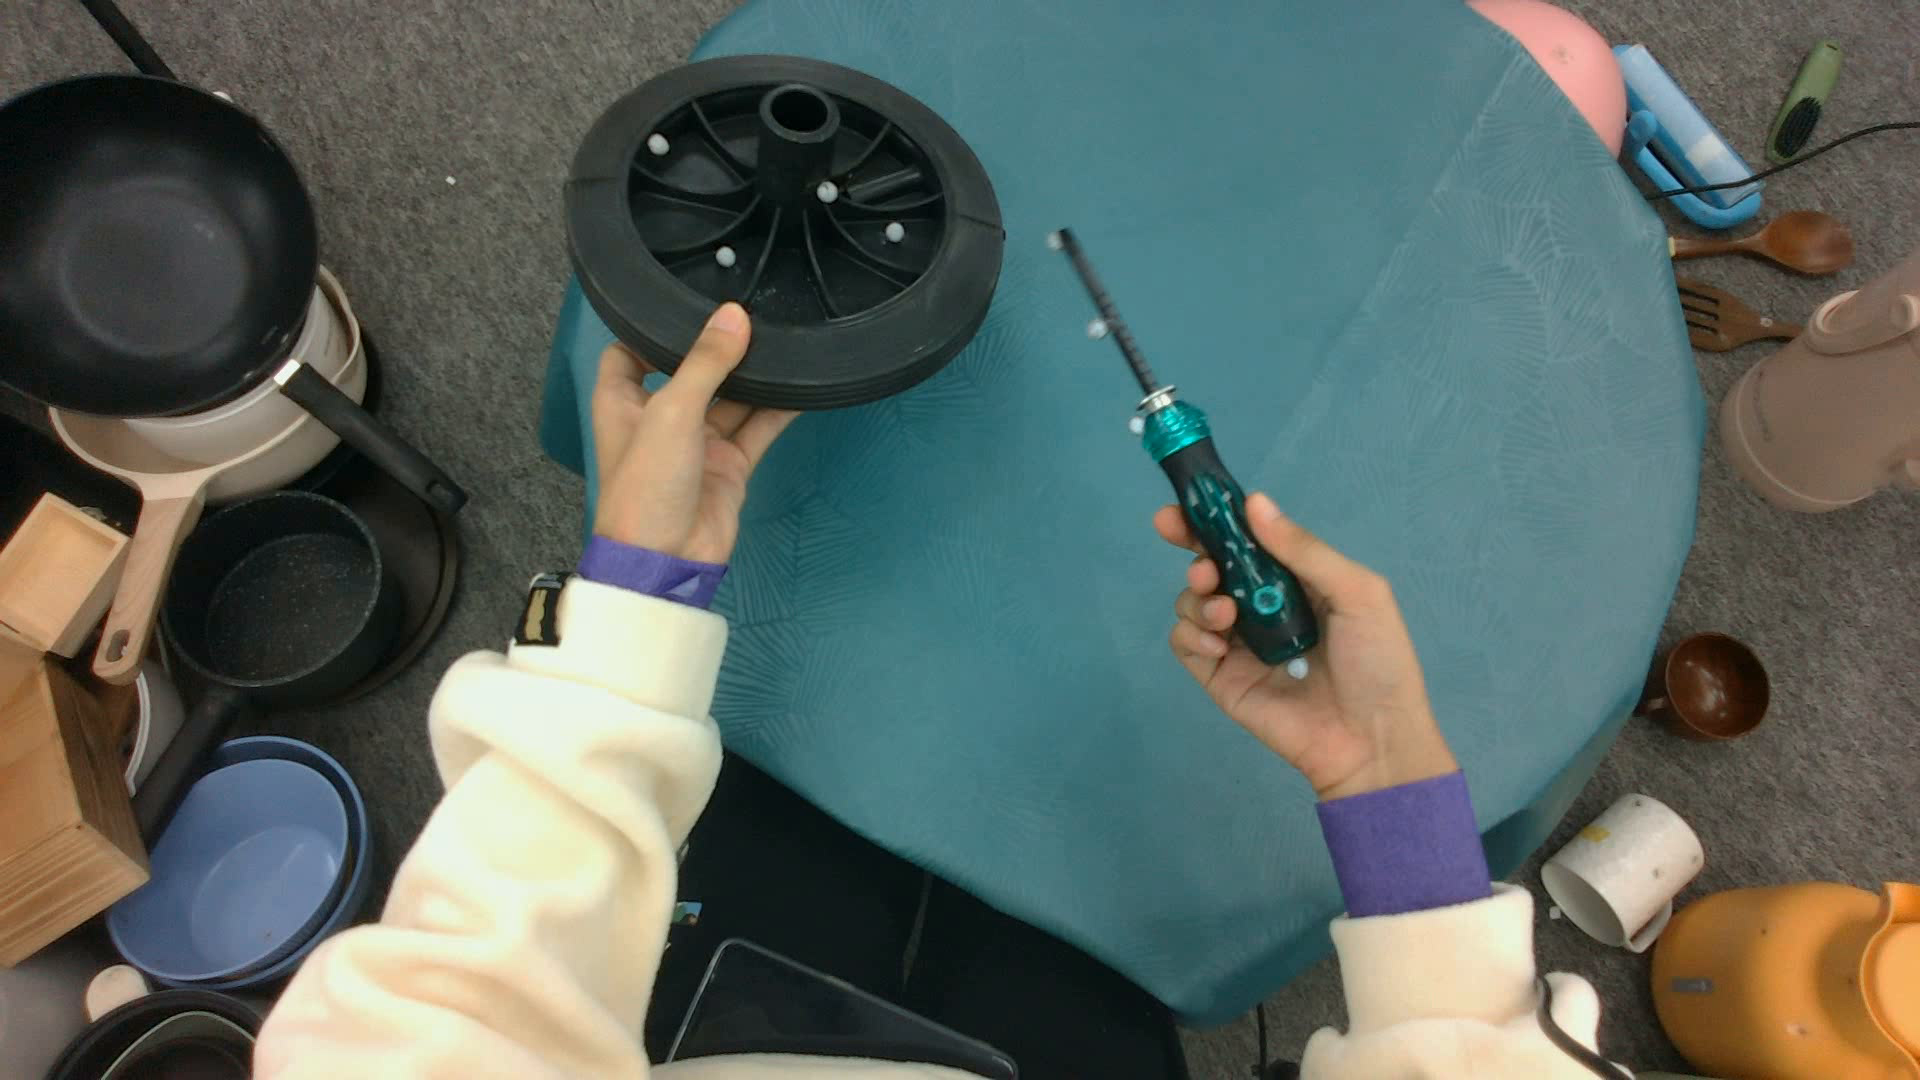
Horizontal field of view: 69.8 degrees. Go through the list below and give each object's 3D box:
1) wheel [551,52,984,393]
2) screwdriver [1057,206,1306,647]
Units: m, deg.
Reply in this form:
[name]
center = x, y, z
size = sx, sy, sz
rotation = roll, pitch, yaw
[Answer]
[wheel]
center = -0.077, -0.155, 0.585
size = 0.187, 0.079, 0.191
rotation = 33, 57, 8
[screwdriver]
center = 0.080, -0.047, 0.532
size = 0.034, 0.033, 0.190
rotation = -24, 83, -11
